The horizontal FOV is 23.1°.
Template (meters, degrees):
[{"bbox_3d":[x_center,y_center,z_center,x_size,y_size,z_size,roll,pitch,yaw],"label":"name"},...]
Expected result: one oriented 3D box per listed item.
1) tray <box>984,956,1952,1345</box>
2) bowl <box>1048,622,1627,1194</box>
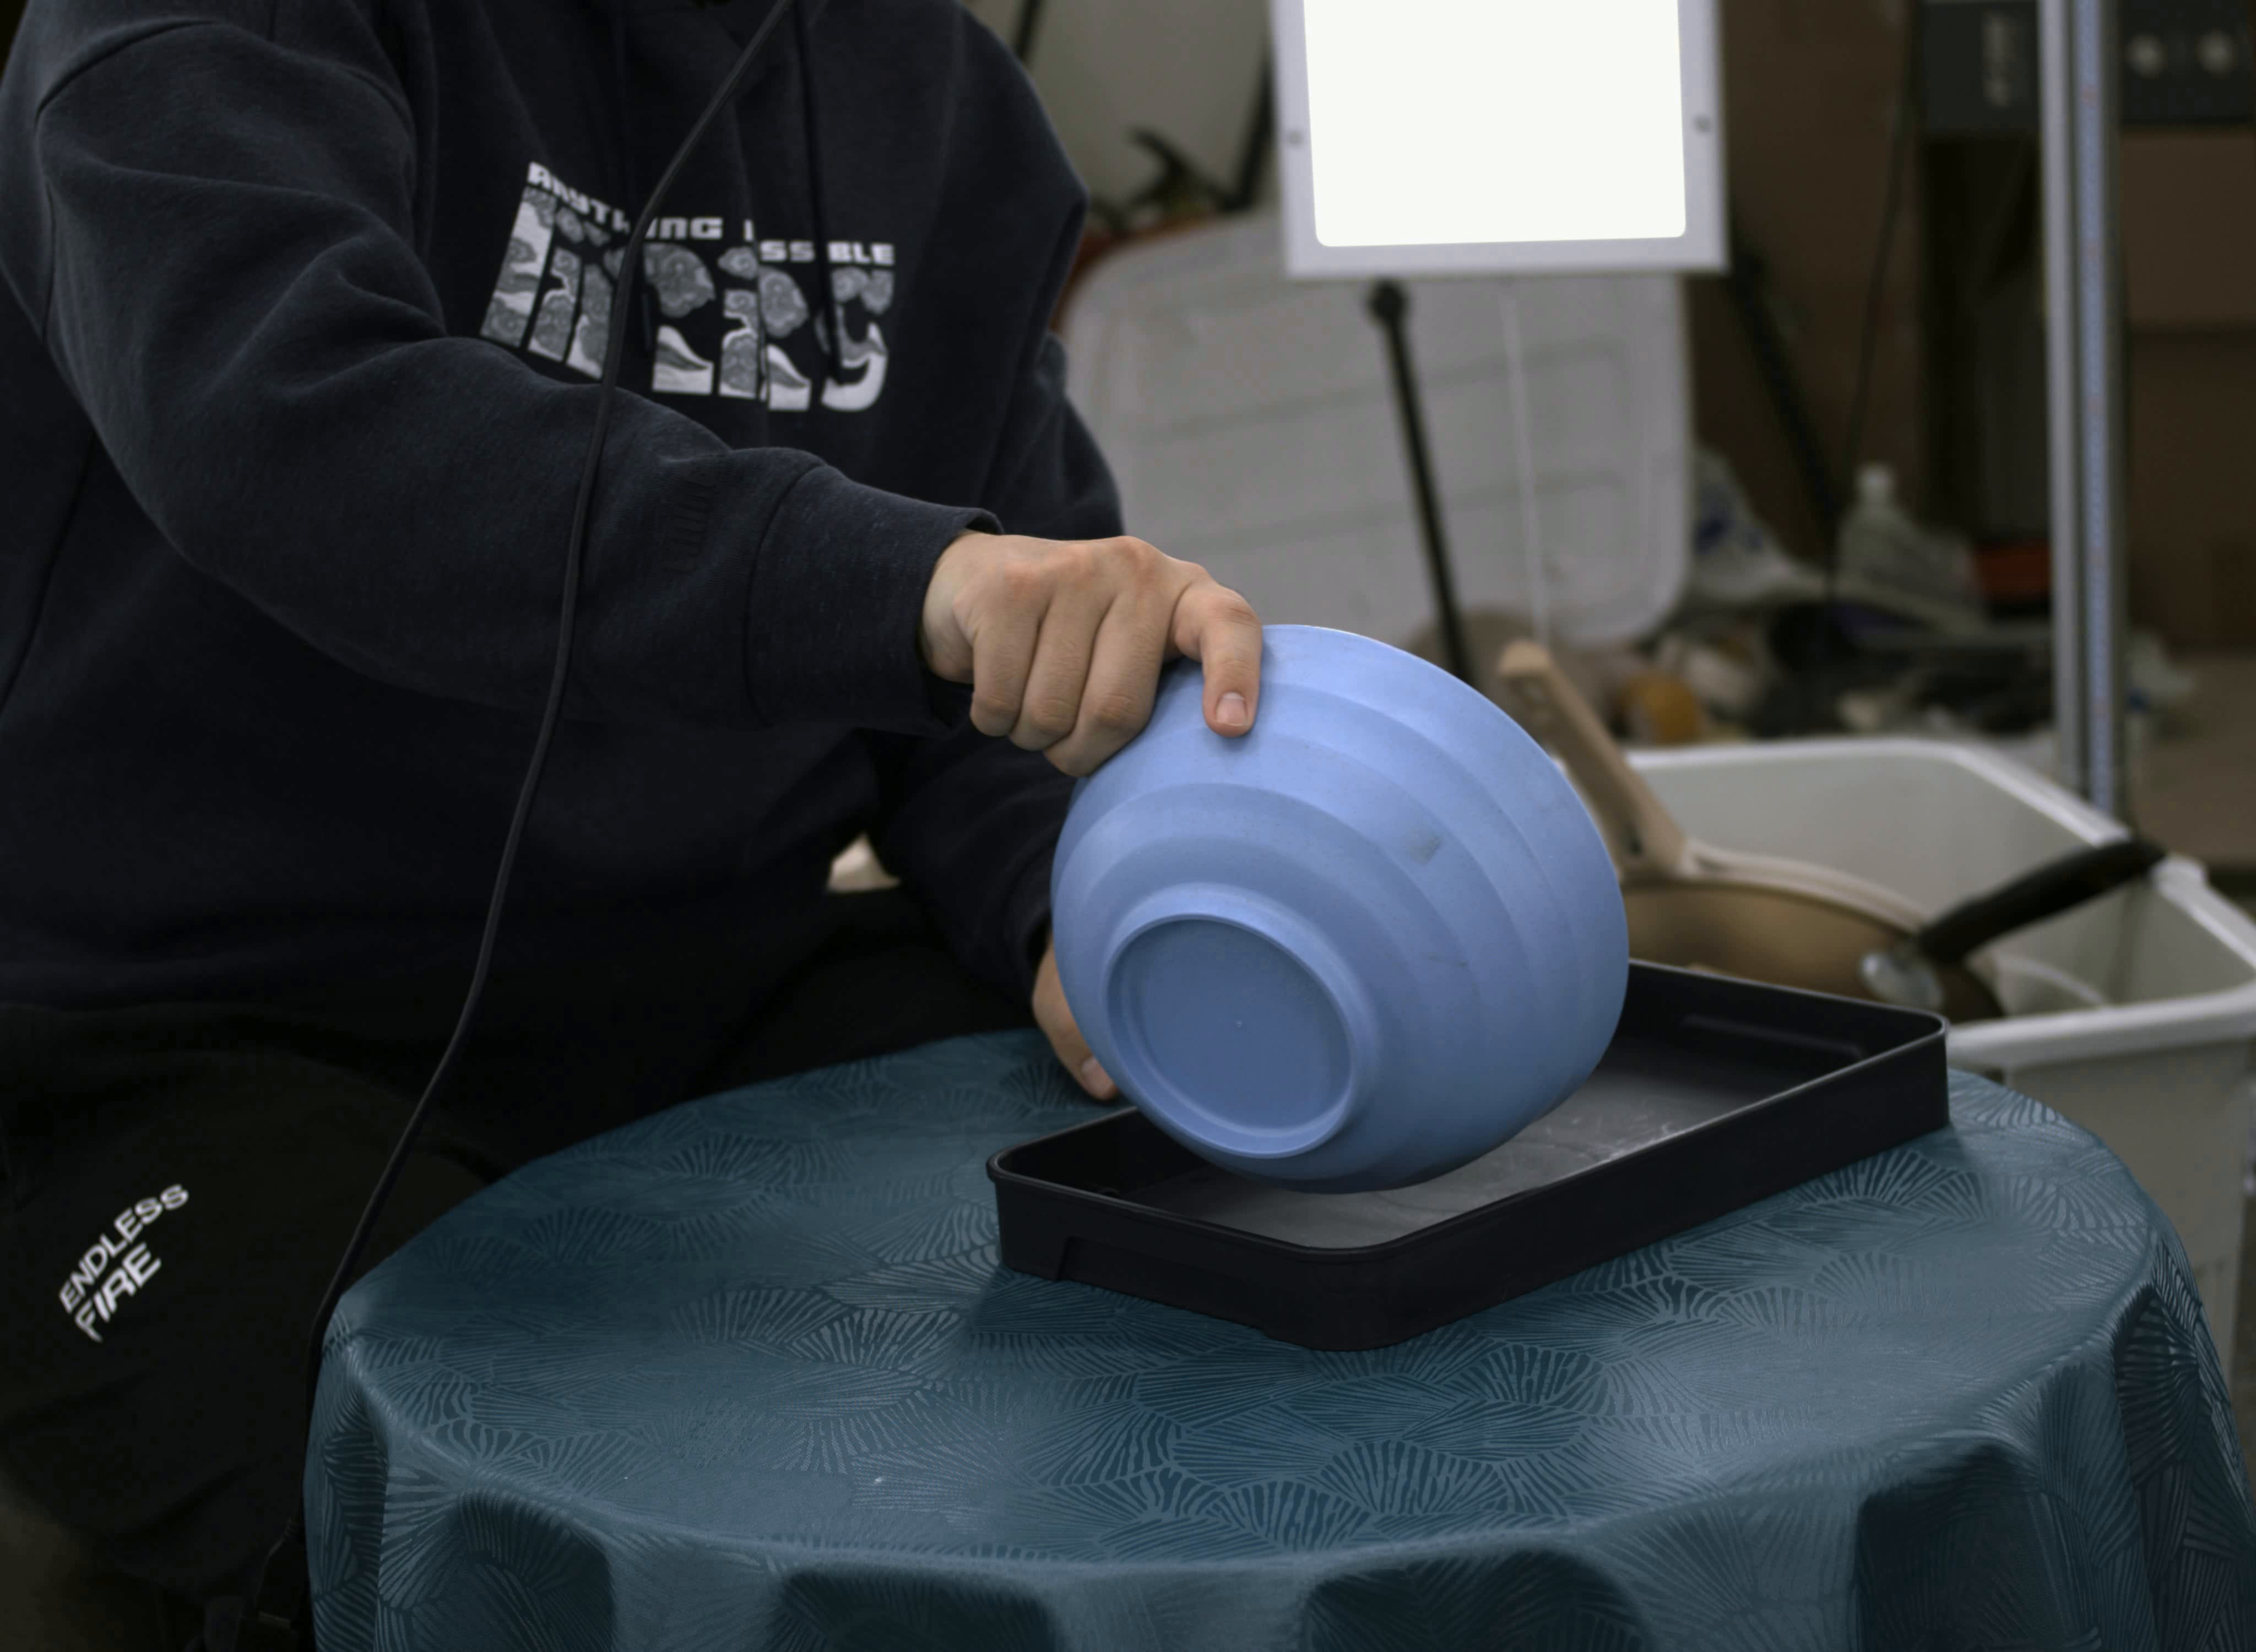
[{"bbox_3d":[0.120,0.104,1.864,0.310,0.037,0.188,-16,17,-40],"label":"tray"},{"bbox_3d":[0.051,0.043,1.755,0.200,0.196,0.093,4,32,32],"label":"bowl"}]
